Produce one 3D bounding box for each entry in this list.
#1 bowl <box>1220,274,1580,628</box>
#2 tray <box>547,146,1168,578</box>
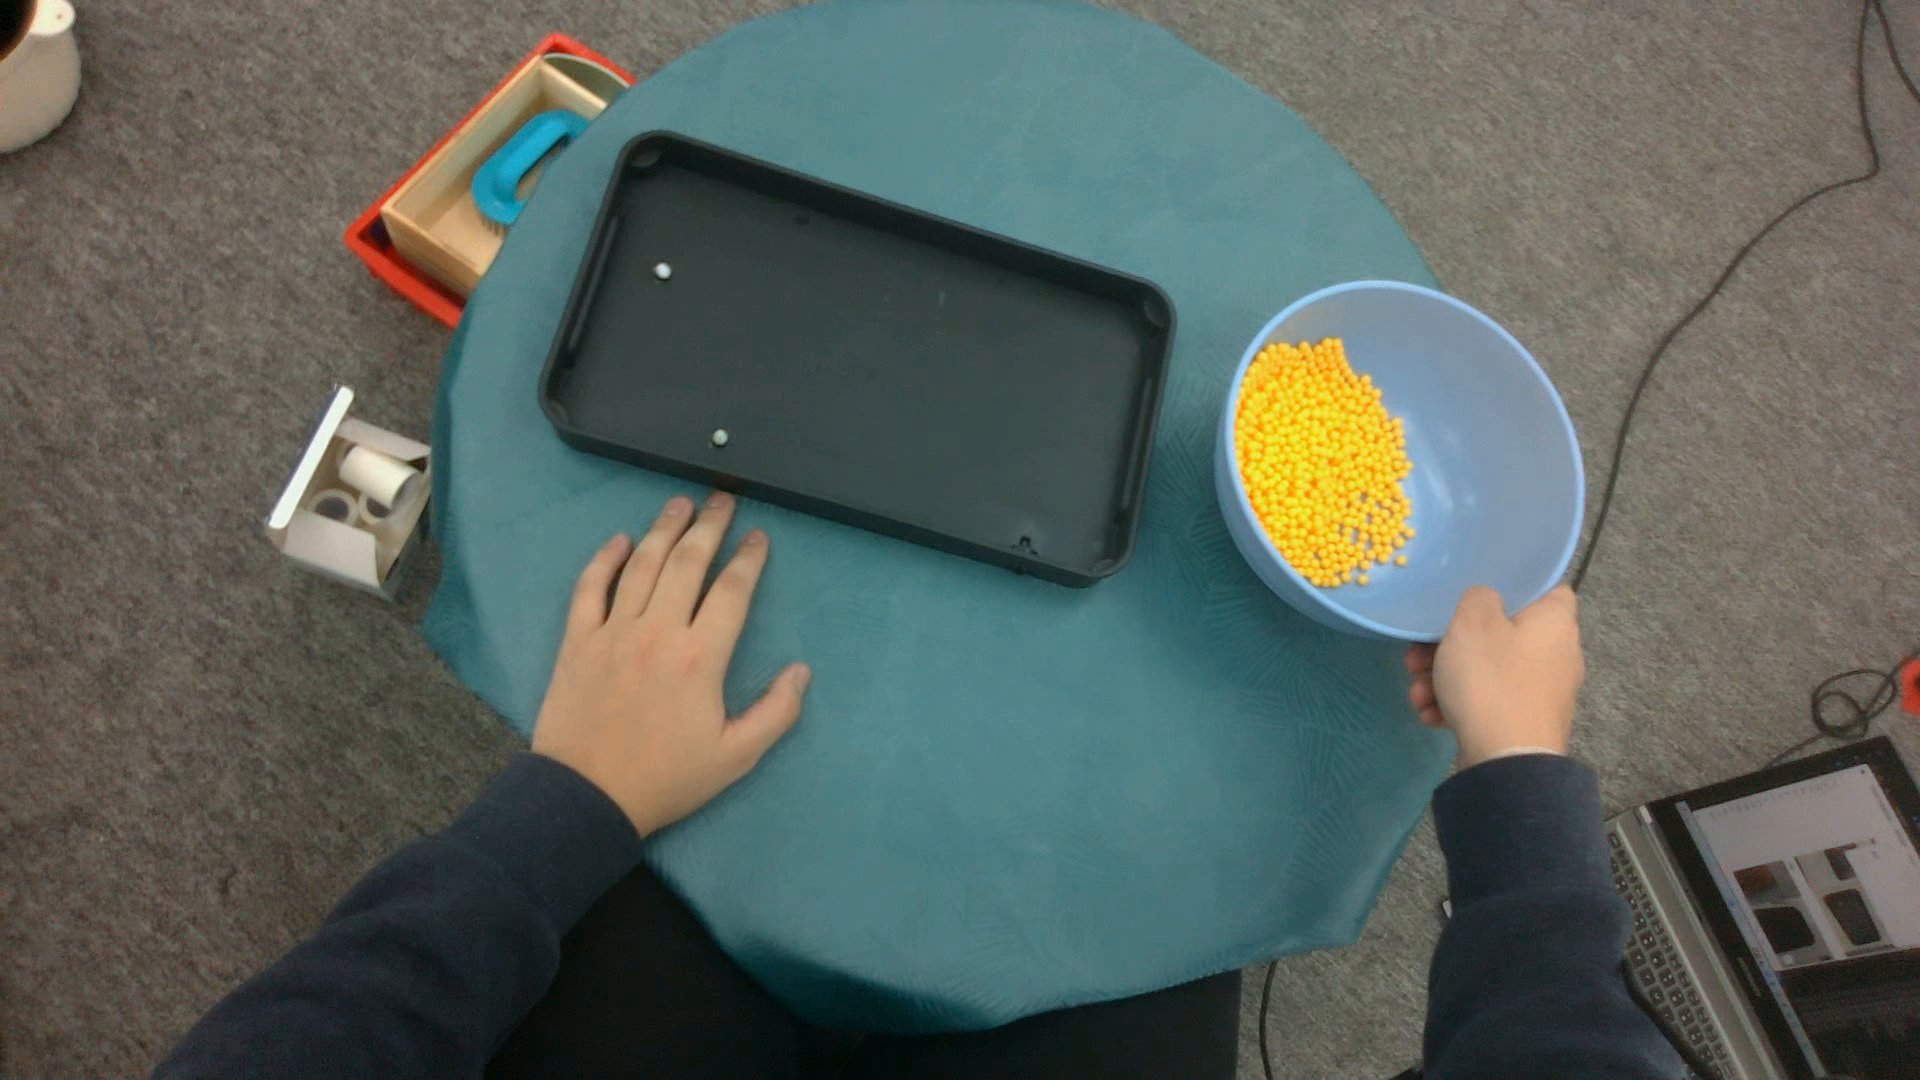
[{"bbox_3d":[0.227,-0.037,0.762,0.196,0.095,0.197,3,72,-10],"label":"bowl"},{"bbox_3d":[-0.049,-0.096,0.763,0.318,0.037,0.185,13,72,-7],"label":"tray"}]
